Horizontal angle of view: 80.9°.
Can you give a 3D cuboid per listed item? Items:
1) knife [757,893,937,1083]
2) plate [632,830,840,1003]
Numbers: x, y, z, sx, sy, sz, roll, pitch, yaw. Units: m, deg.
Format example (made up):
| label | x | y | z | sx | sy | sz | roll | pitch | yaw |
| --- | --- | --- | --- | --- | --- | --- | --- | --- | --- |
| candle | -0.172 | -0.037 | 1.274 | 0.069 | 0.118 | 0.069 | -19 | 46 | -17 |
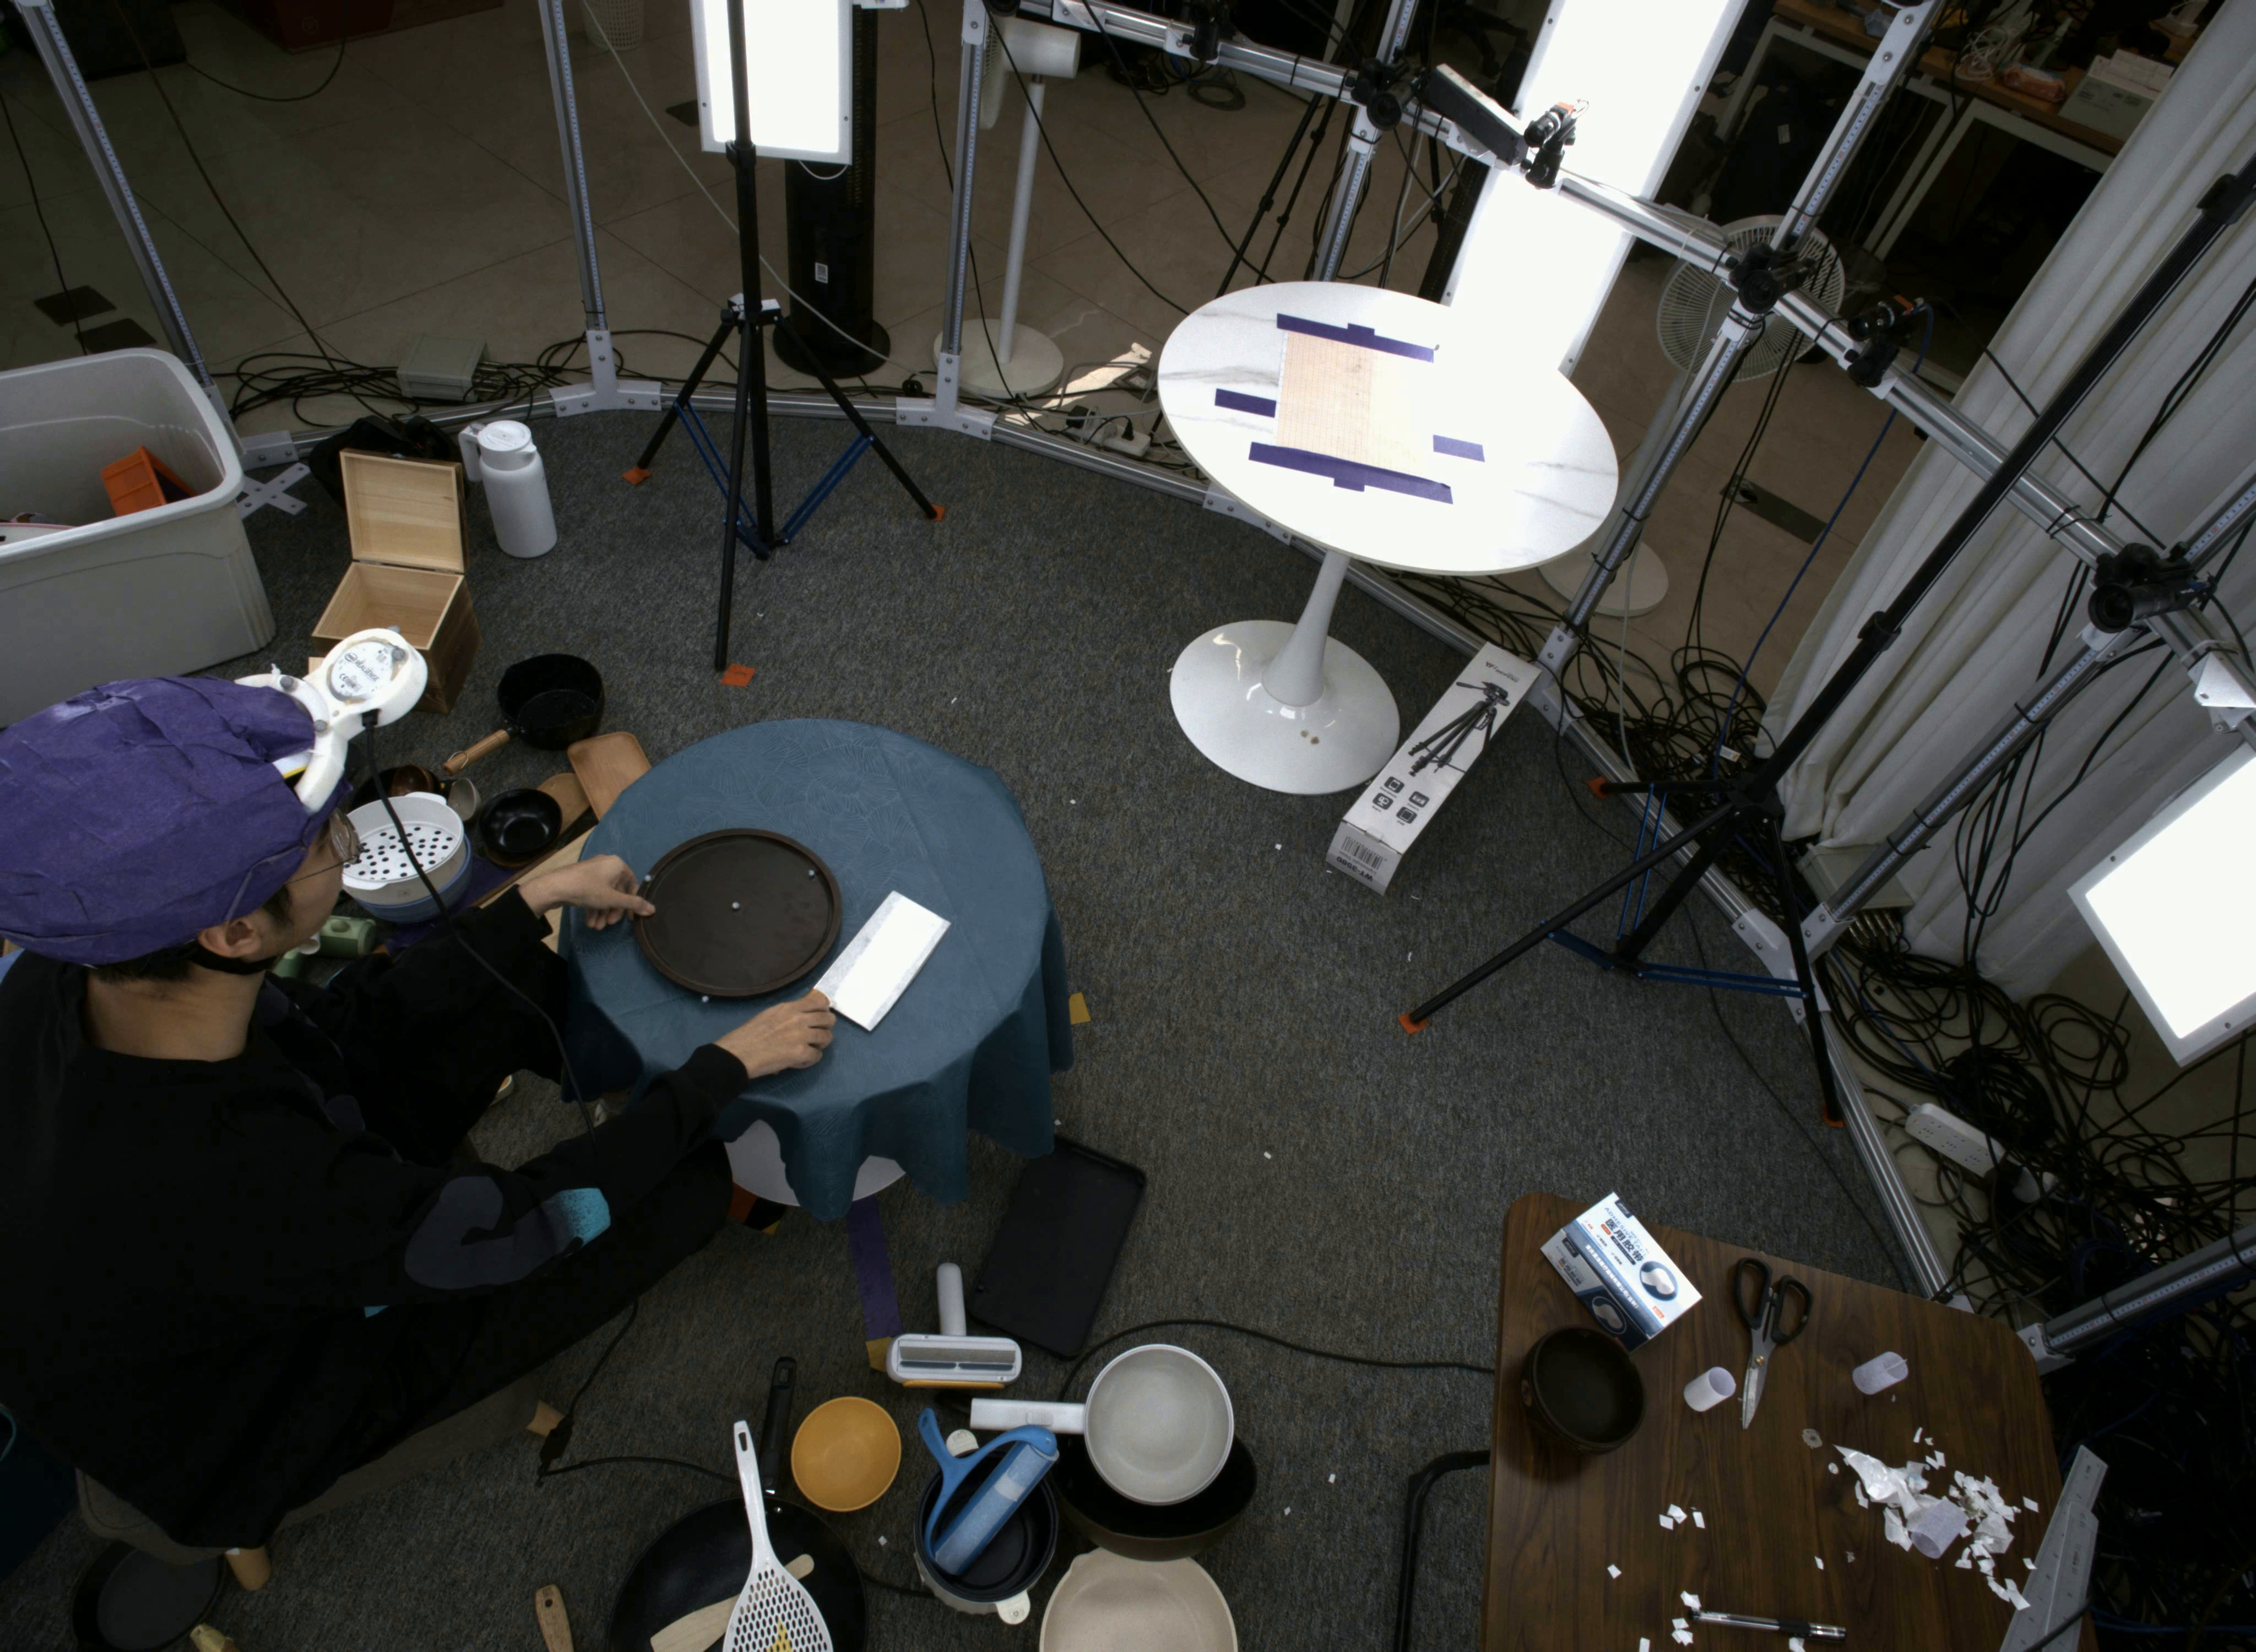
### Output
| label | x | y | z | sx | sy | sz | roll | pitch | yaw |
| --- | --- | --- | --- | --- | --- | --- | --- | --- | --- |
| knife | -0.331 | 0.199 | 1.579 | 0.092 | 0.021 | 0.304 | 30 | 50 | 4 |
| plate | -0.484 | 0.108 | 1.600 | 0.254 | 0.029 | 0.250 | 7 | 52 | -8 |
